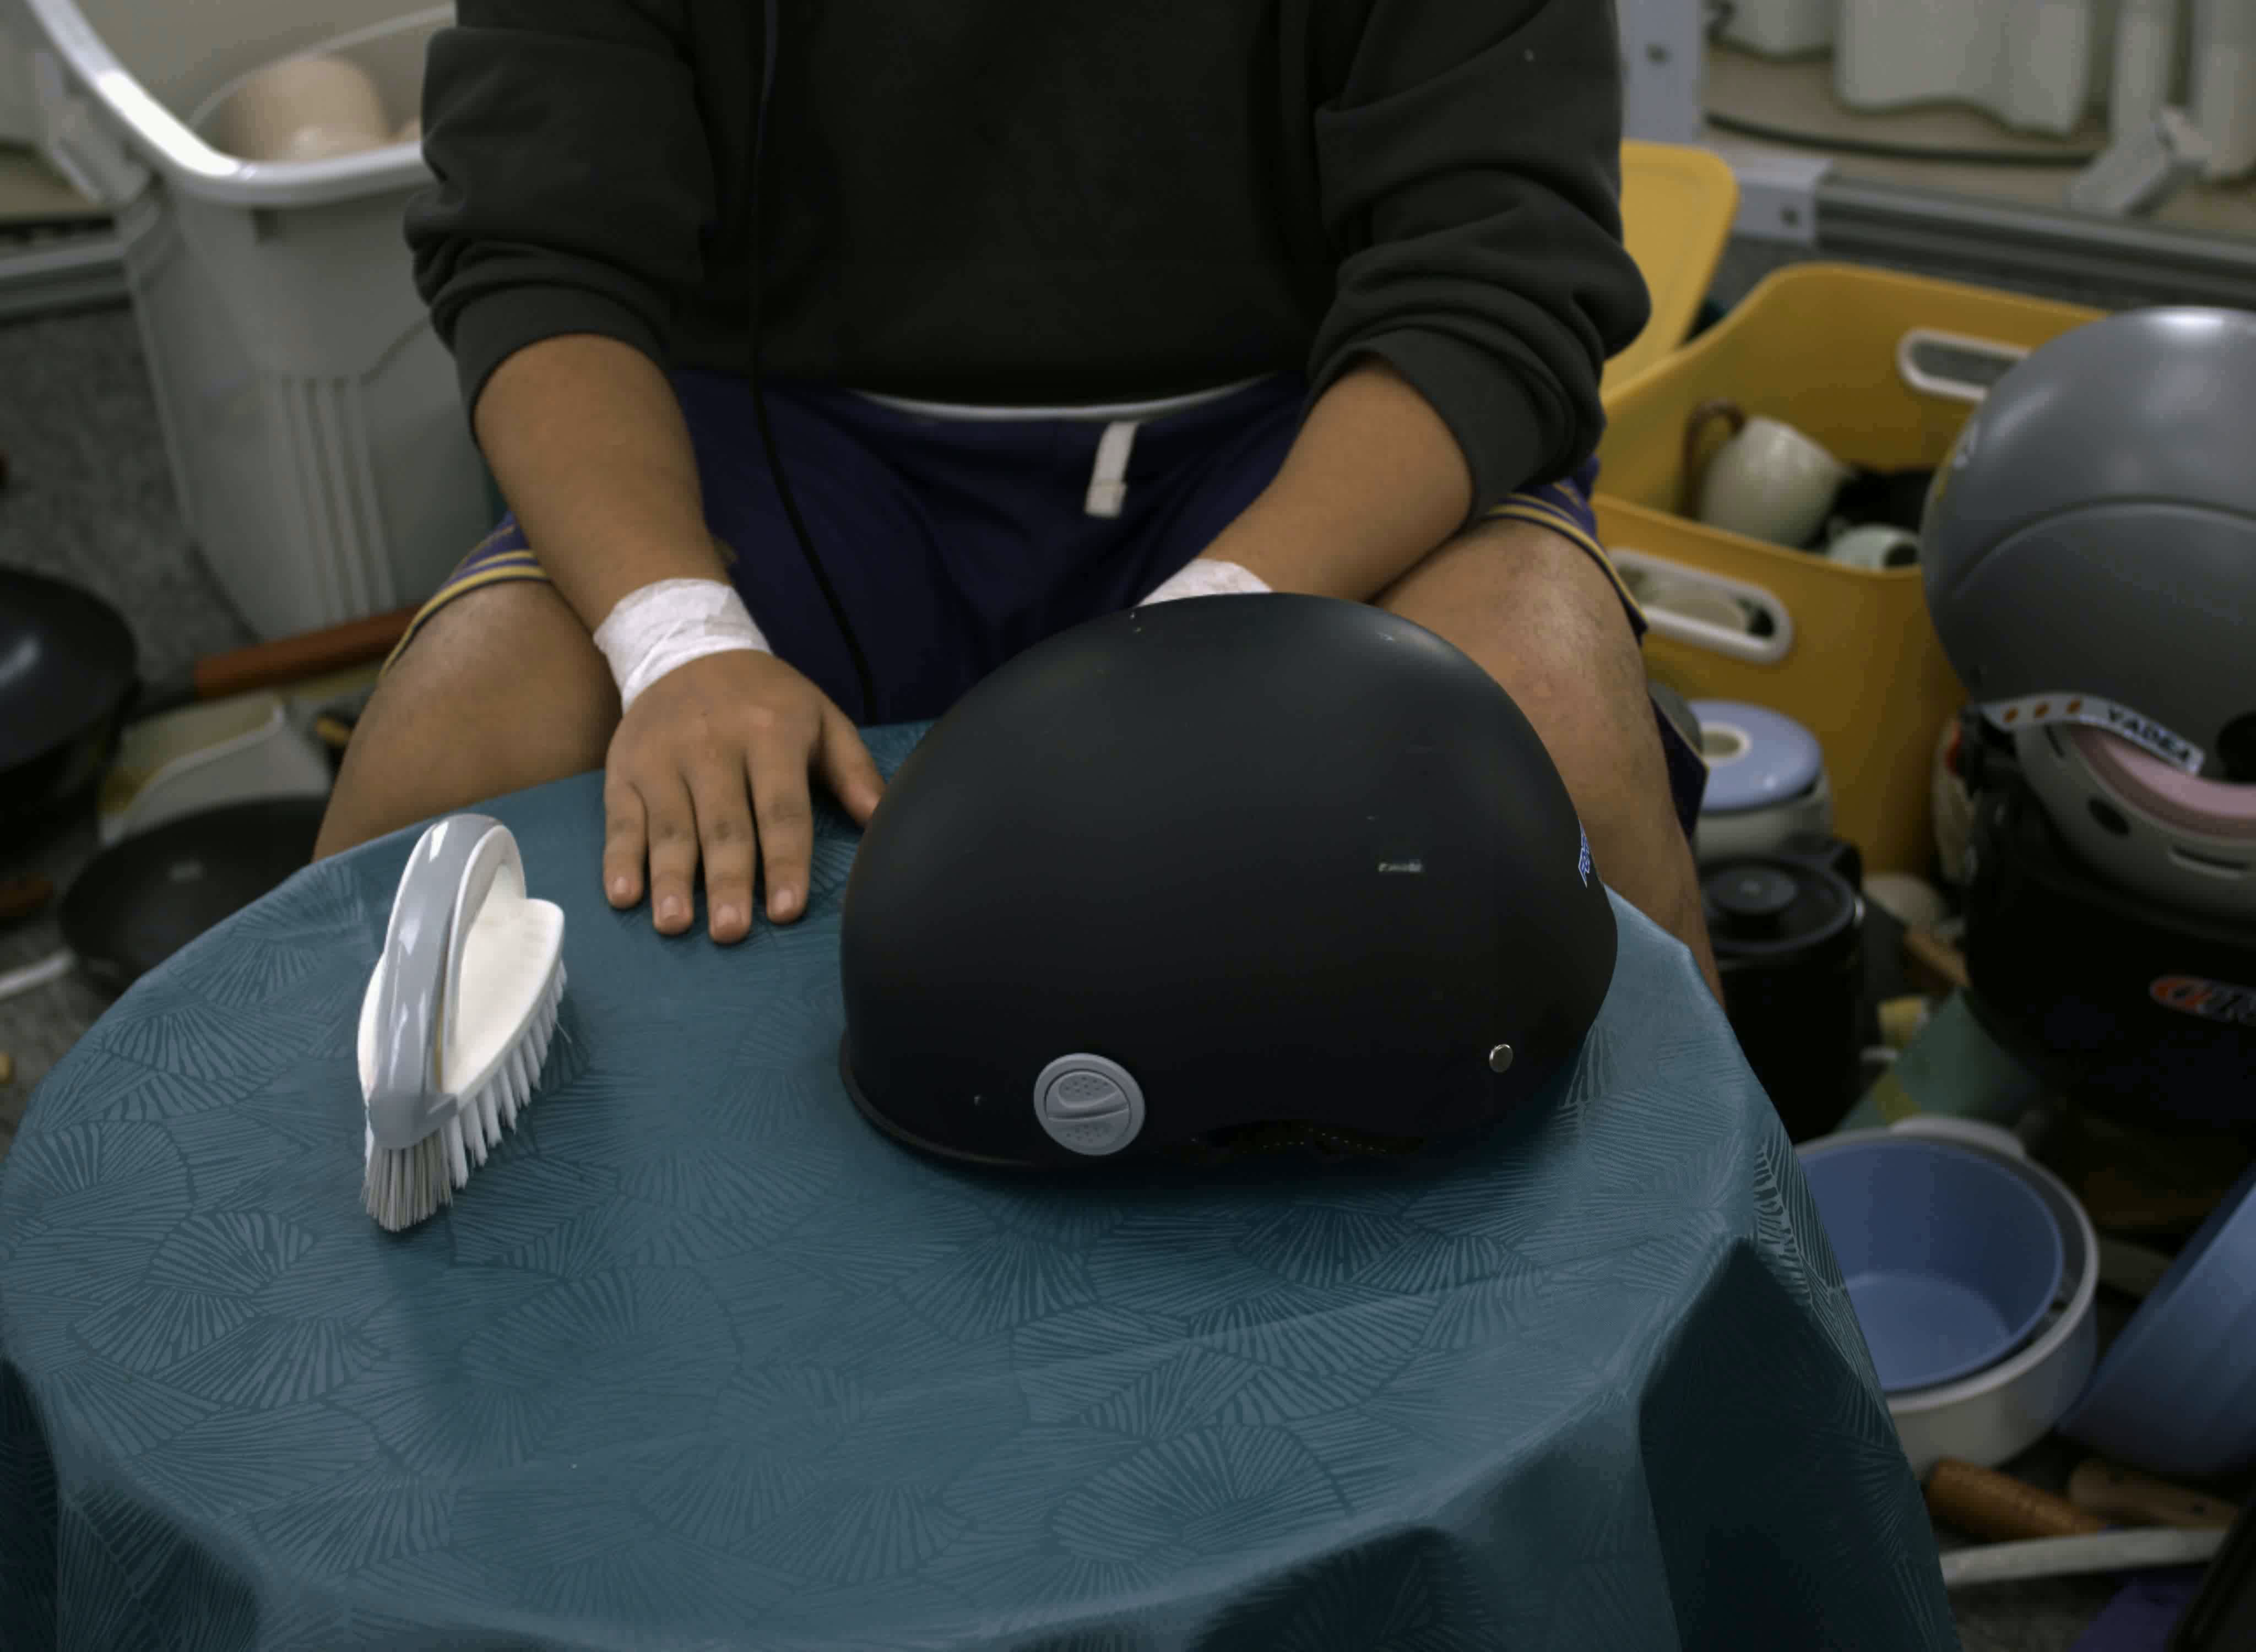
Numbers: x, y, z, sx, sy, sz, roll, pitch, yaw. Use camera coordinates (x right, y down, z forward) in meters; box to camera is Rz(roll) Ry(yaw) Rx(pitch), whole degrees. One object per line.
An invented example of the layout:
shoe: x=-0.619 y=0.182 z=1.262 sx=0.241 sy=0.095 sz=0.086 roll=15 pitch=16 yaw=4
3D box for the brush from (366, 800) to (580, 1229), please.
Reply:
brush: x=-0.231 y=0.056 z=1.912 sx=0.061 sy=0.093 sz=0.178 roll=-2 pitch=29 yaw=8

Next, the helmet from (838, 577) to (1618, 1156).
helmet: x=0.028 y=0.004 z=1.915 sx=0.271 sy=0.165 sz=0.234 roll=-2 pitch=27 yaw=6
